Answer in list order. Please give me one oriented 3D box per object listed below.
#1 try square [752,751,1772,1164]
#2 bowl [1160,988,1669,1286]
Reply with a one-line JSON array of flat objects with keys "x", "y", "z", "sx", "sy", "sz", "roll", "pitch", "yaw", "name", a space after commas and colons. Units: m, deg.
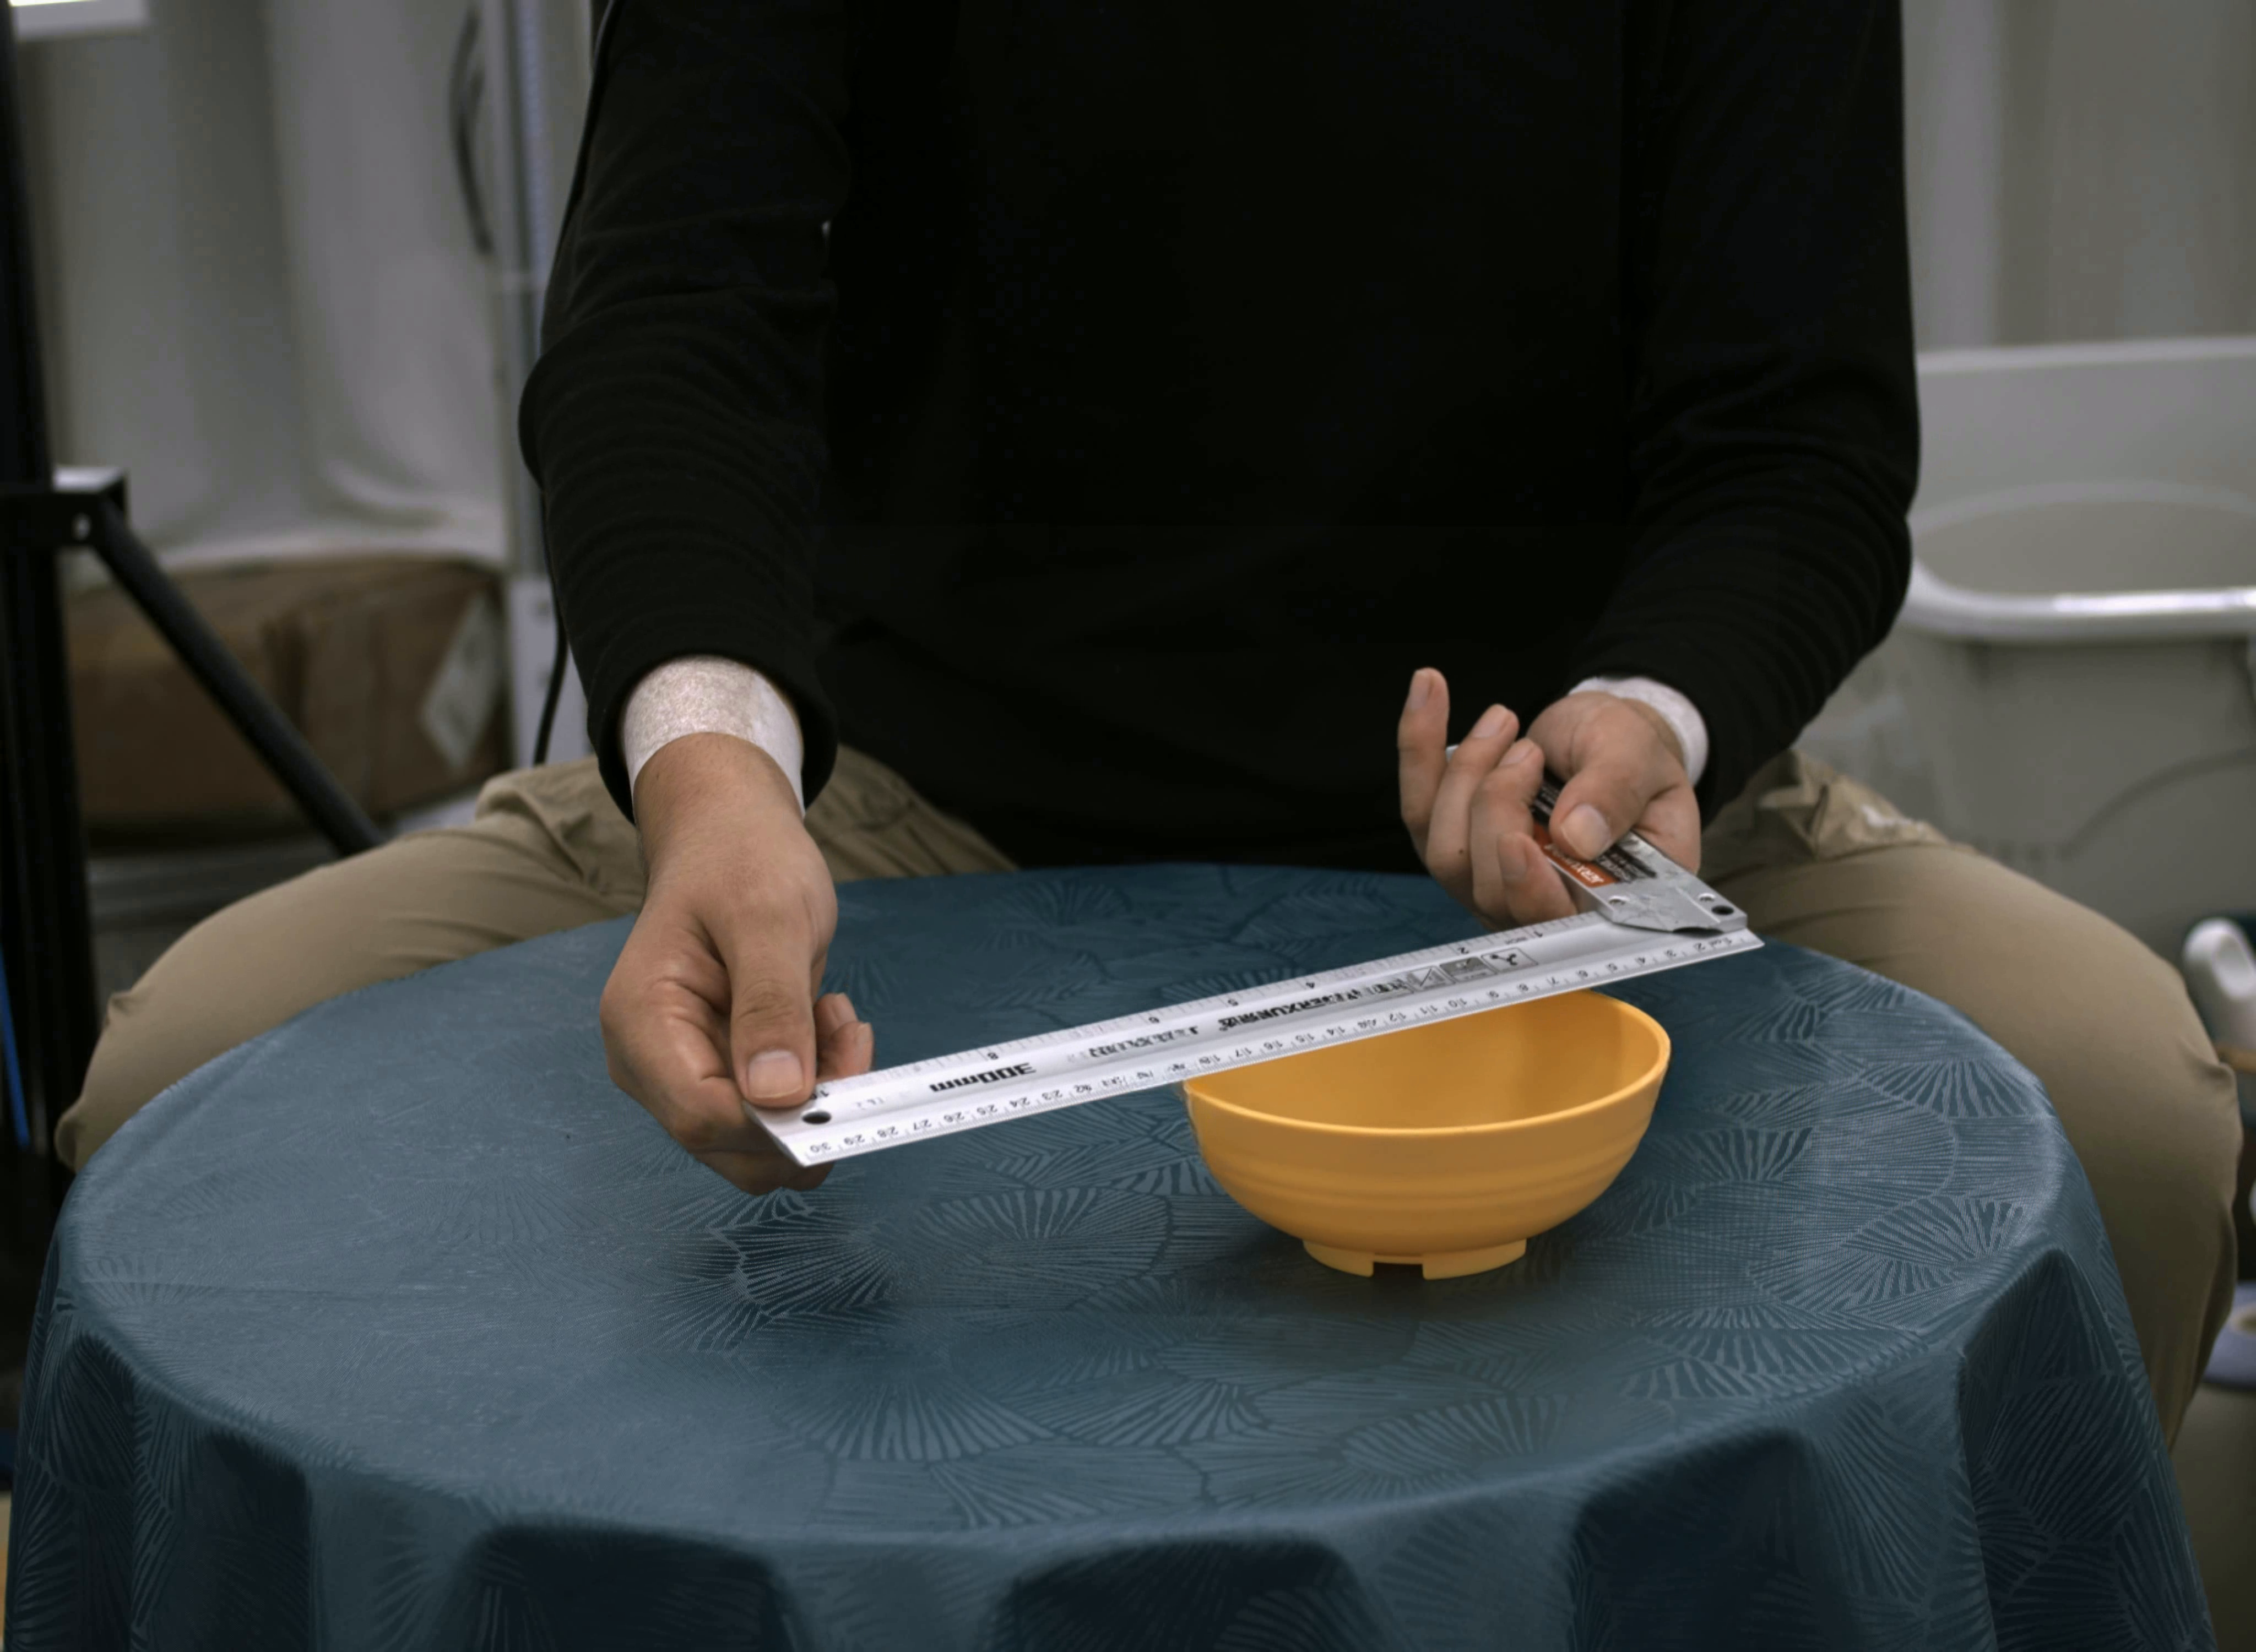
[{"x": 0.019, "y": 0.036, "z": 1.544, "sx": 0.307, "sy": 0.016, "sz": 0.155, "roll": -12, "pitch": 25, "yaw": -23, "name": "try square"}, {"x": 0.080, "y": 0.093, "z": 1.500, "sx": 0.144, "sy": 0.060, "sz": 0.146, "roll": 0, "pitch": 14, "yaw": -1, "name": "bowl"}]
